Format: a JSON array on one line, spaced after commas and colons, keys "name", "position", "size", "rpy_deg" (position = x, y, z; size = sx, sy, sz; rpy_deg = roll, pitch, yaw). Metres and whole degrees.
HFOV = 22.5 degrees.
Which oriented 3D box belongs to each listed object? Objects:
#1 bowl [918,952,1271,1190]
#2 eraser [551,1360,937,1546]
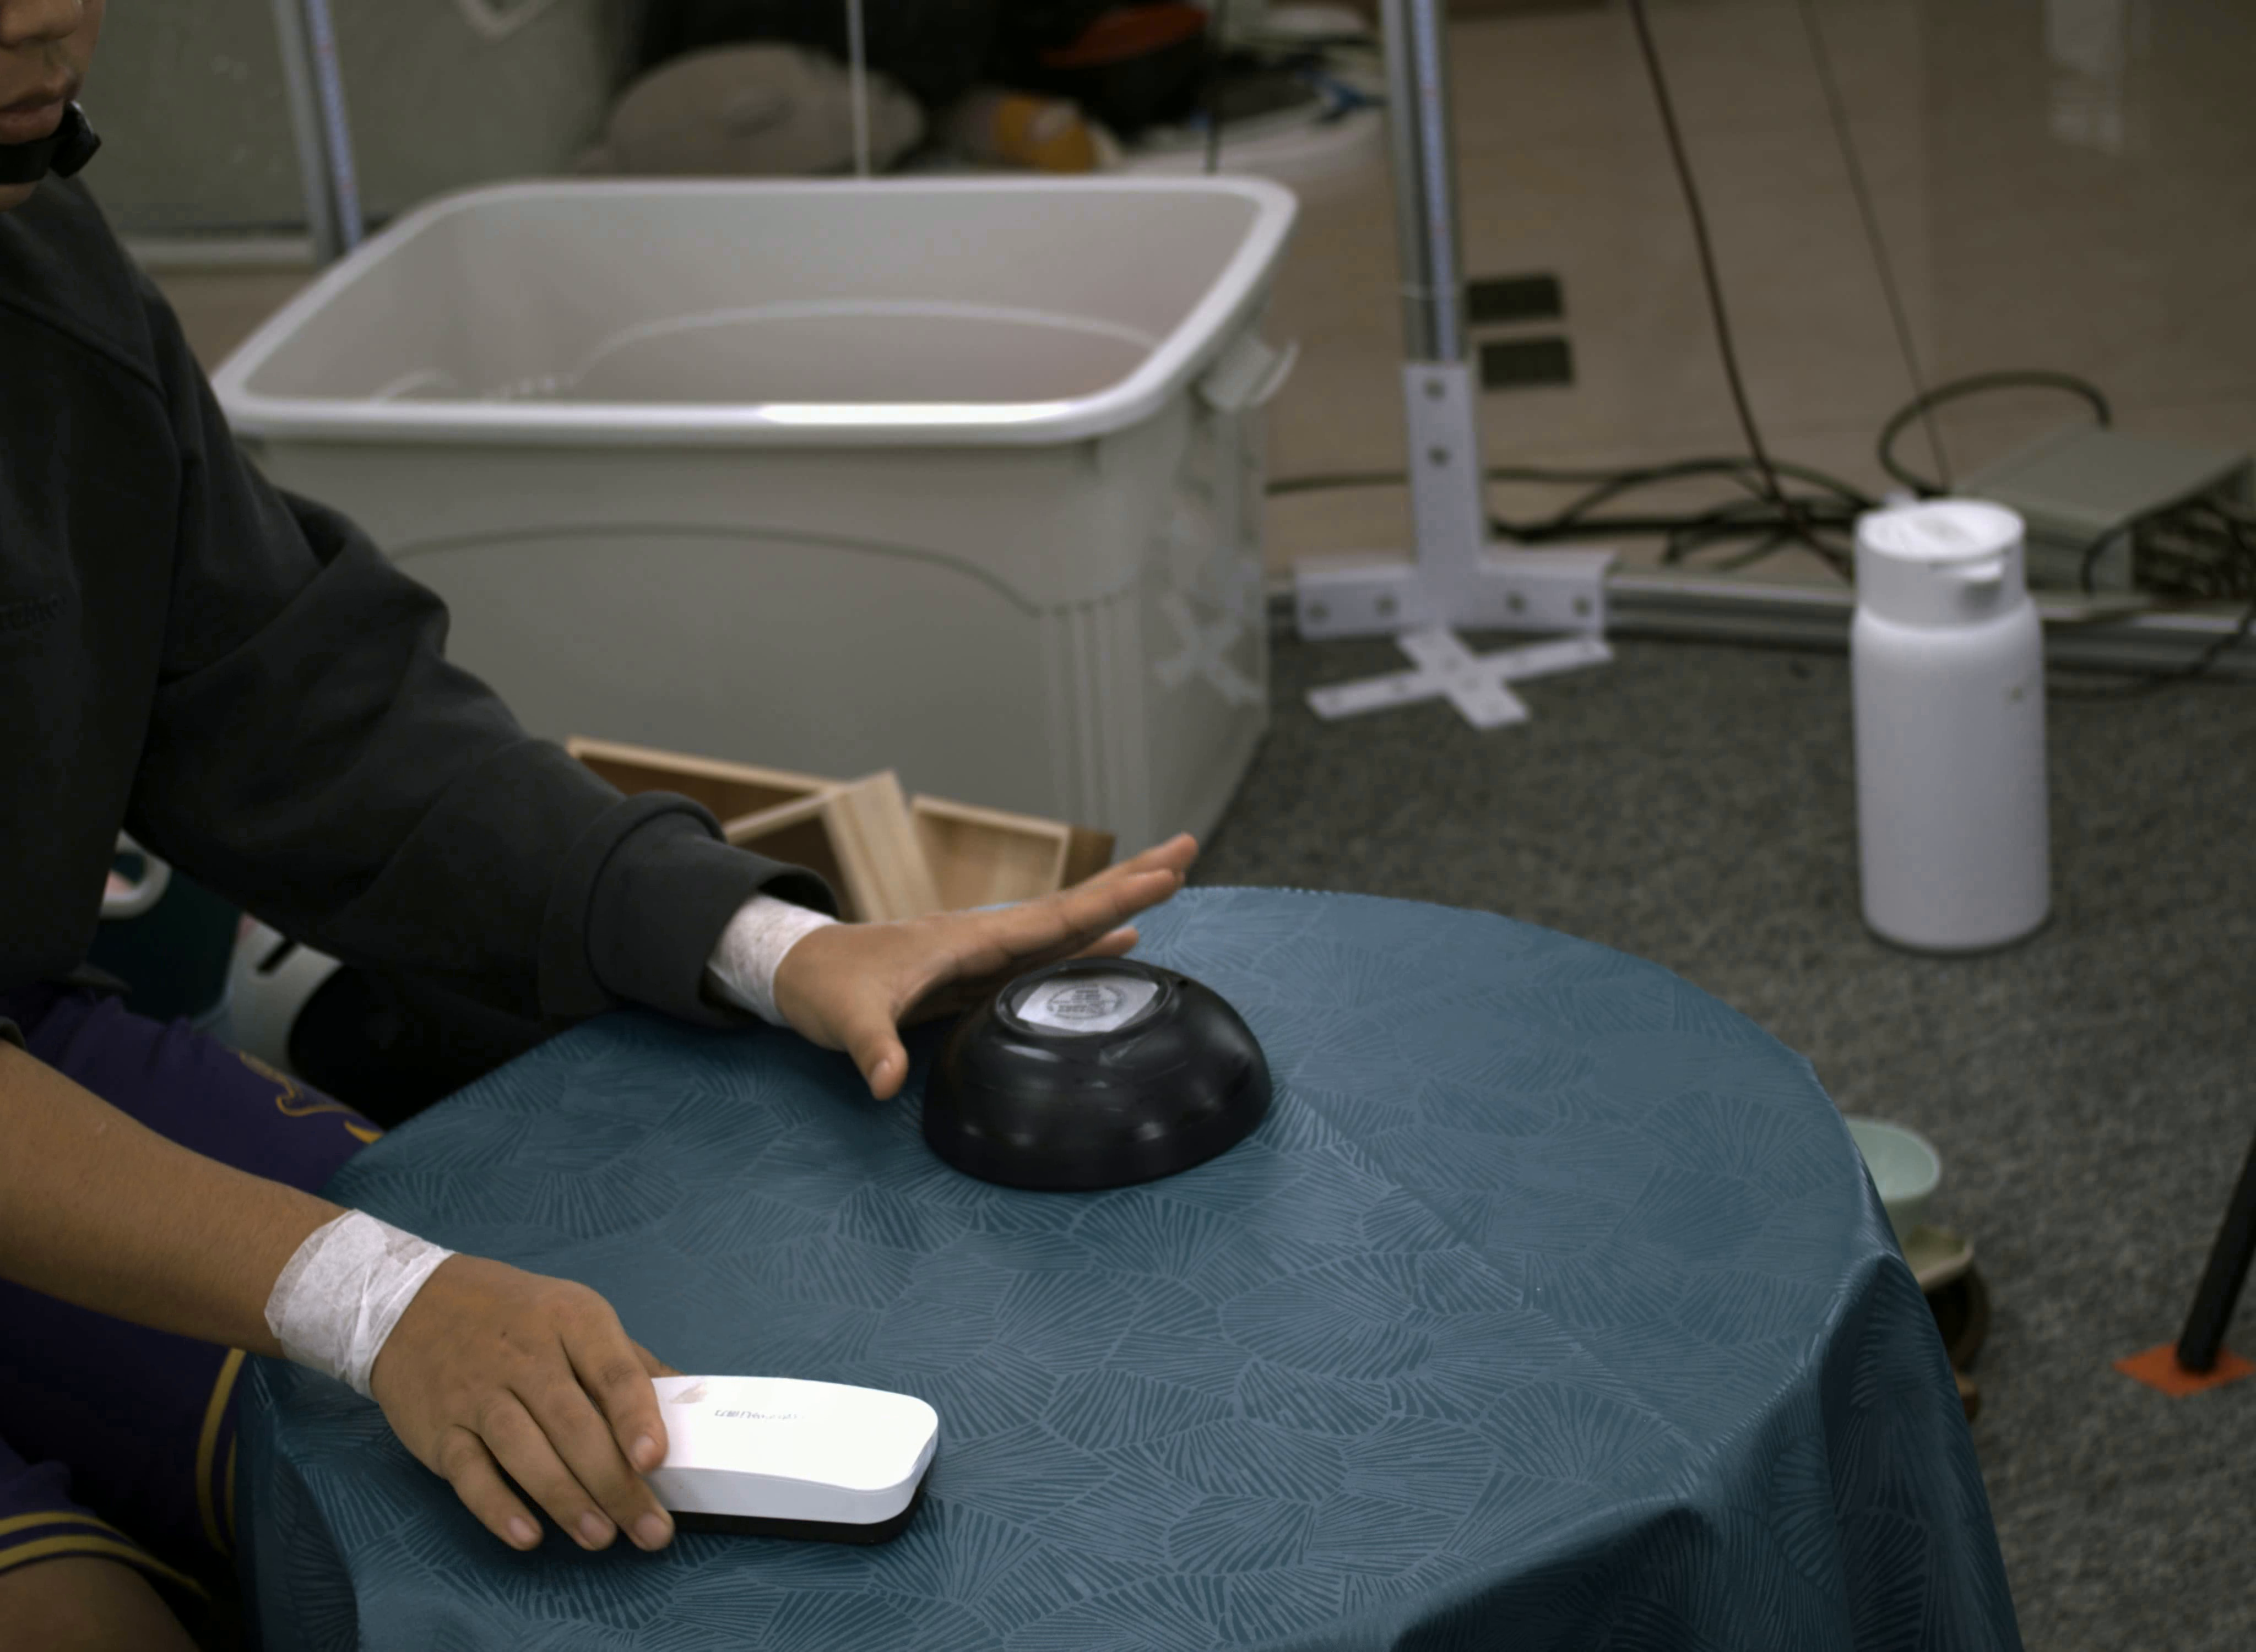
[{"name": "bowl", "position": [-0.015, 0.087, 2.201], "size": [0.140, 0.050, 0.138], "rpy_deg": [-5, 27, 3]}, {"name": "eraser", "position": [-0.132, 0.217, 1.973], "size": [0.131, 0.035, 0.062], "rpy_deg": [4, 26, 18]}]
